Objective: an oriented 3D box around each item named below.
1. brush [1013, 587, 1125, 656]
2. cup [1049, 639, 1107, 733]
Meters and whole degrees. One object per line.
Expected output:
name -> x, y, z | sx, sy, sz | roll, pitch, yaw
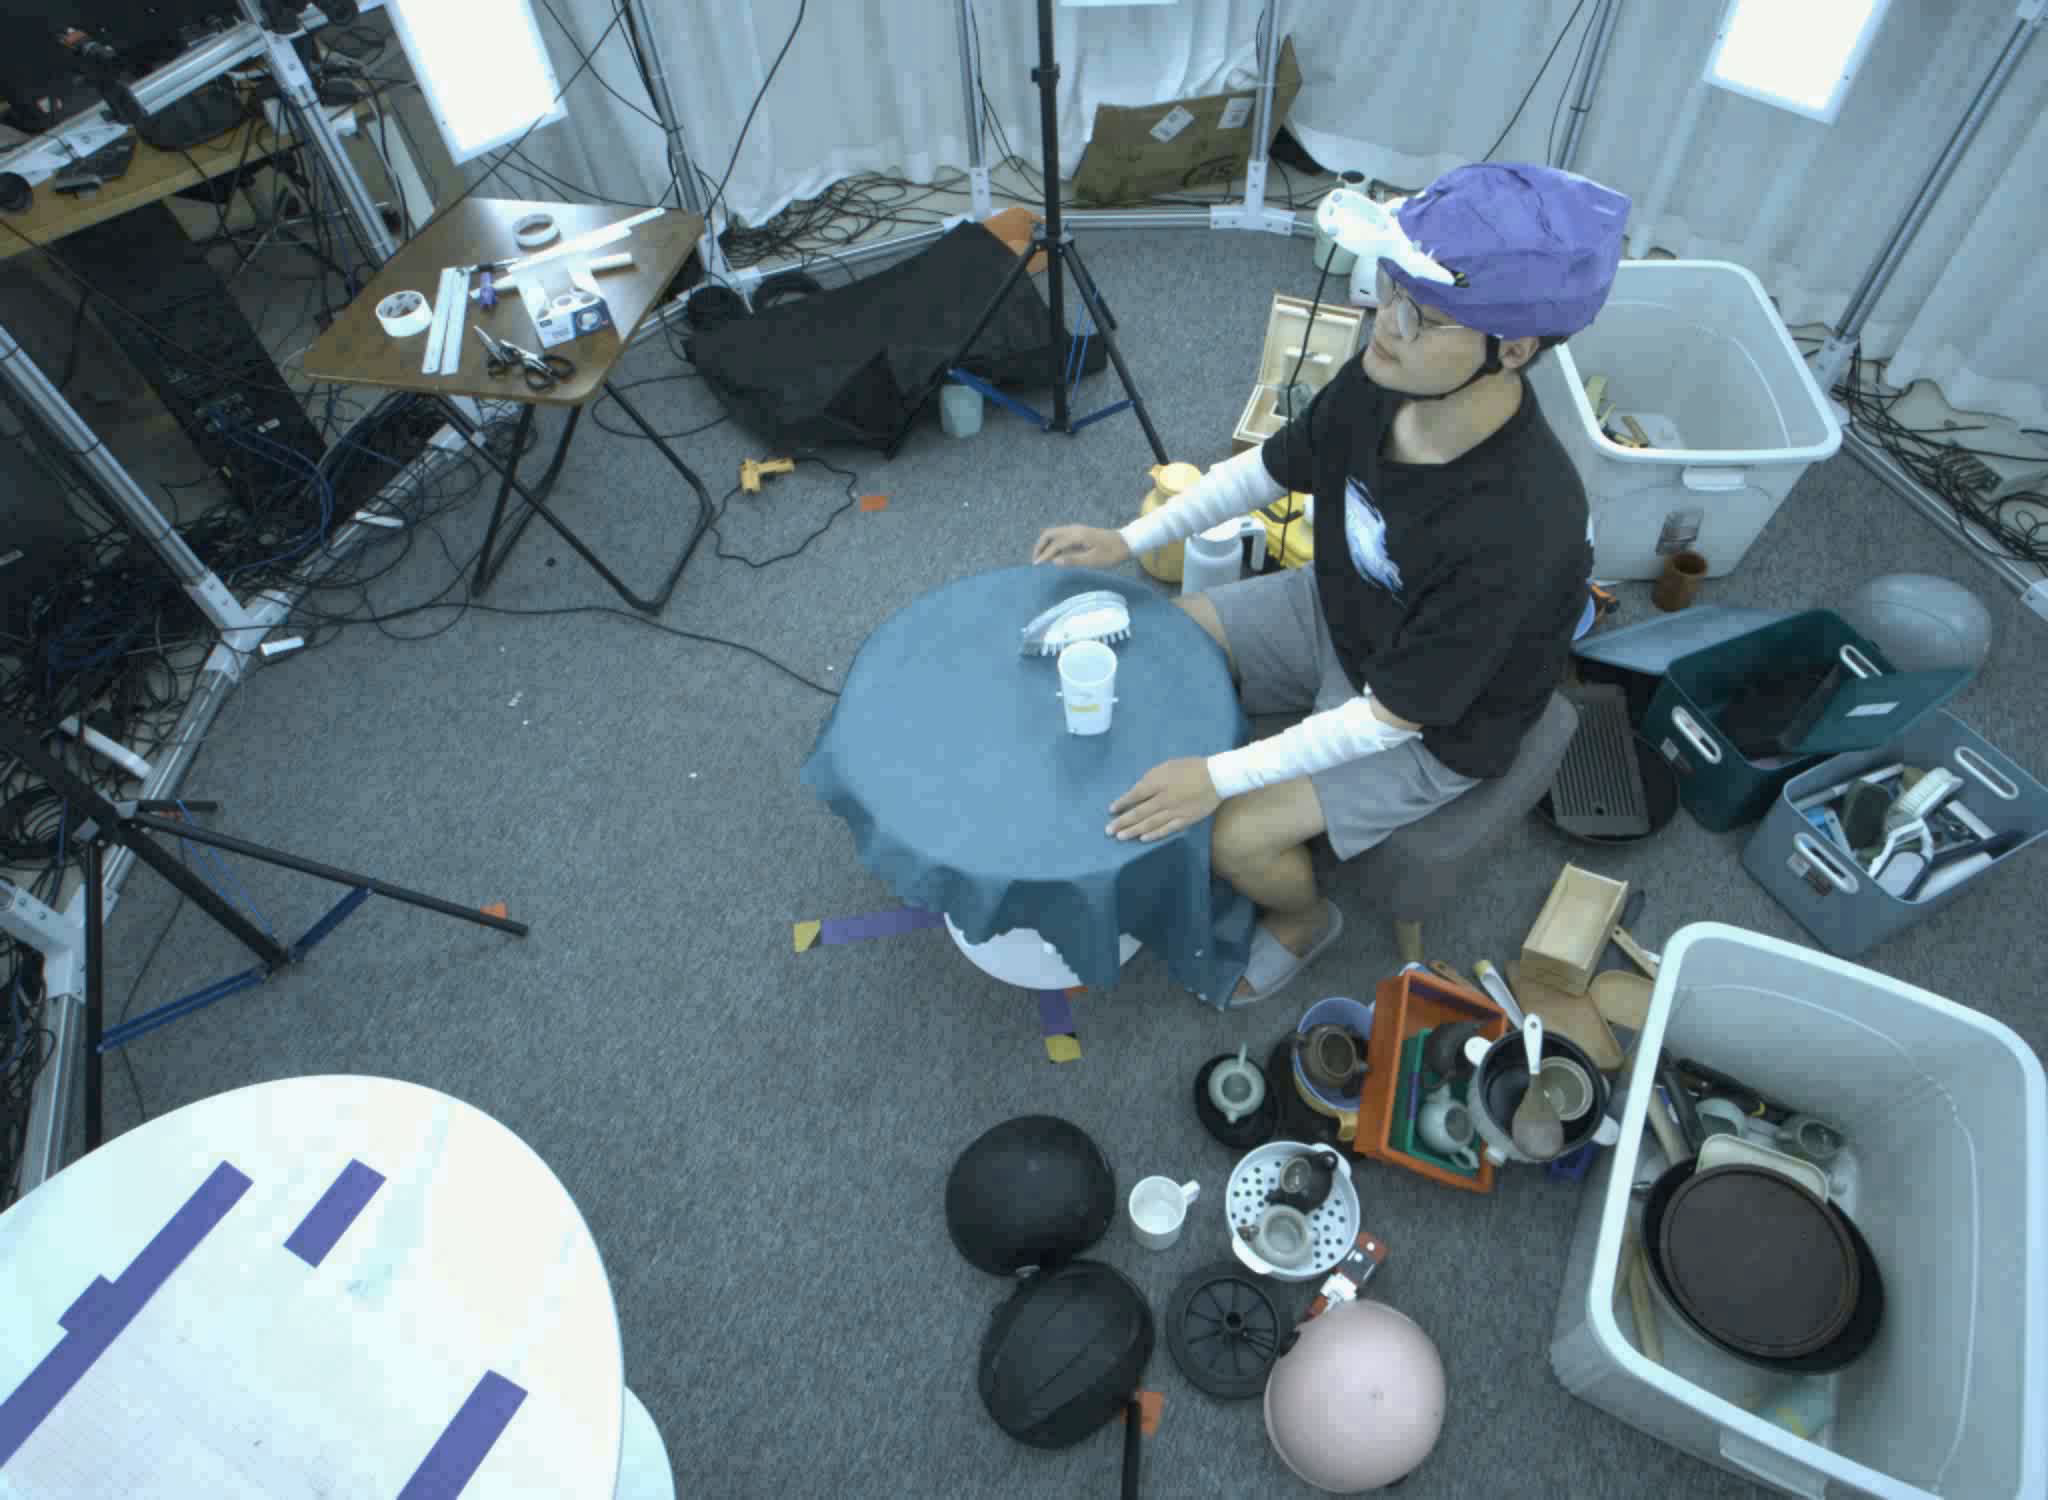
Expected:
brush -> 0.063, -0.196, 1.860 | 0.176, 0.095, 0.060 | -16, 50, -6
cup -> 0.079, -0.087, 1.761 | 0.081, 0.127, 0.081 | -2, 54, 3
